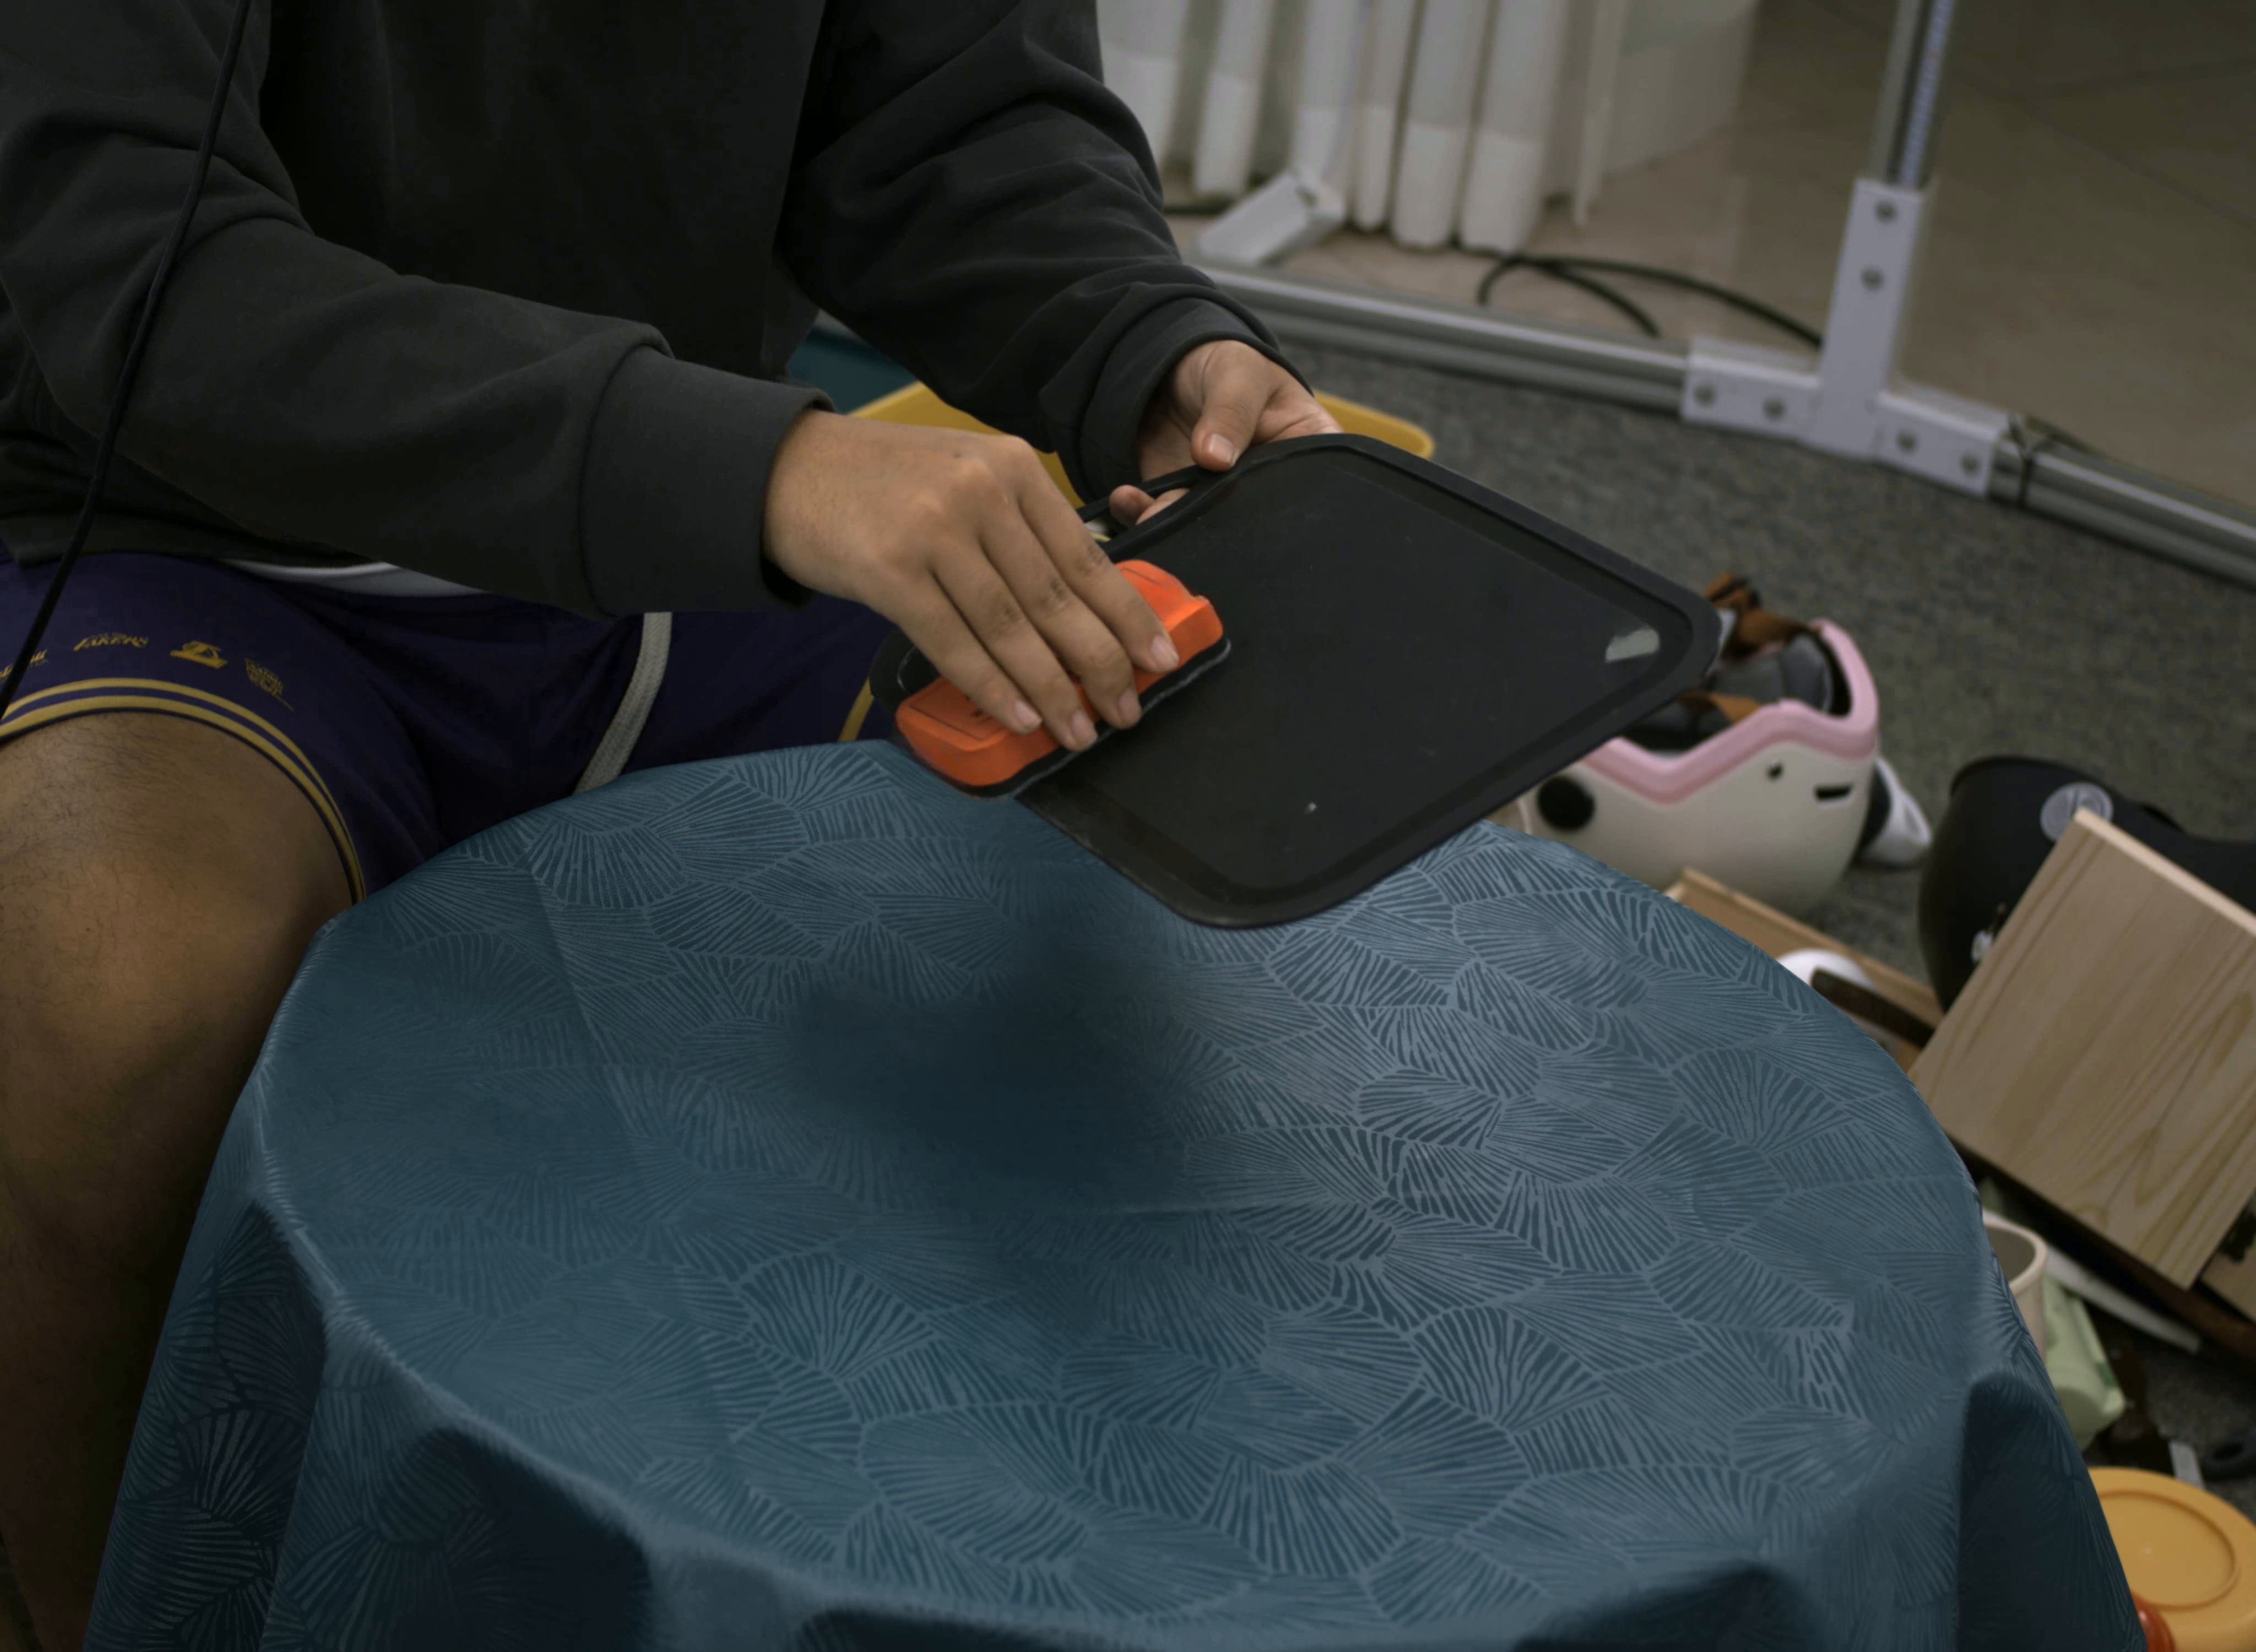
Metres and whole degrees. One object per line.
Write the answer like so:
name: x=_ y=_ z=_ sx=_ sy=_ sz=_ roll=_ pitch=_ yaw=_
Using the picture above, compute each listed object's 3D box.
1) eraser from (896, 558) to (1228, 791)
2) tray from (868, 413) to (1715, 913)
eraser: x=-0.023 y=-0.052 z=1.804 sx=0.108 sy=0.023 sz=0.059 roll=-32 pitch=32 yaw=-23
tray: x=0.044 y=-0.064 z=1.811 sx=0.210 sy=0.010 sz=0.328 roll=-31 pitch=30 yaw=-16
